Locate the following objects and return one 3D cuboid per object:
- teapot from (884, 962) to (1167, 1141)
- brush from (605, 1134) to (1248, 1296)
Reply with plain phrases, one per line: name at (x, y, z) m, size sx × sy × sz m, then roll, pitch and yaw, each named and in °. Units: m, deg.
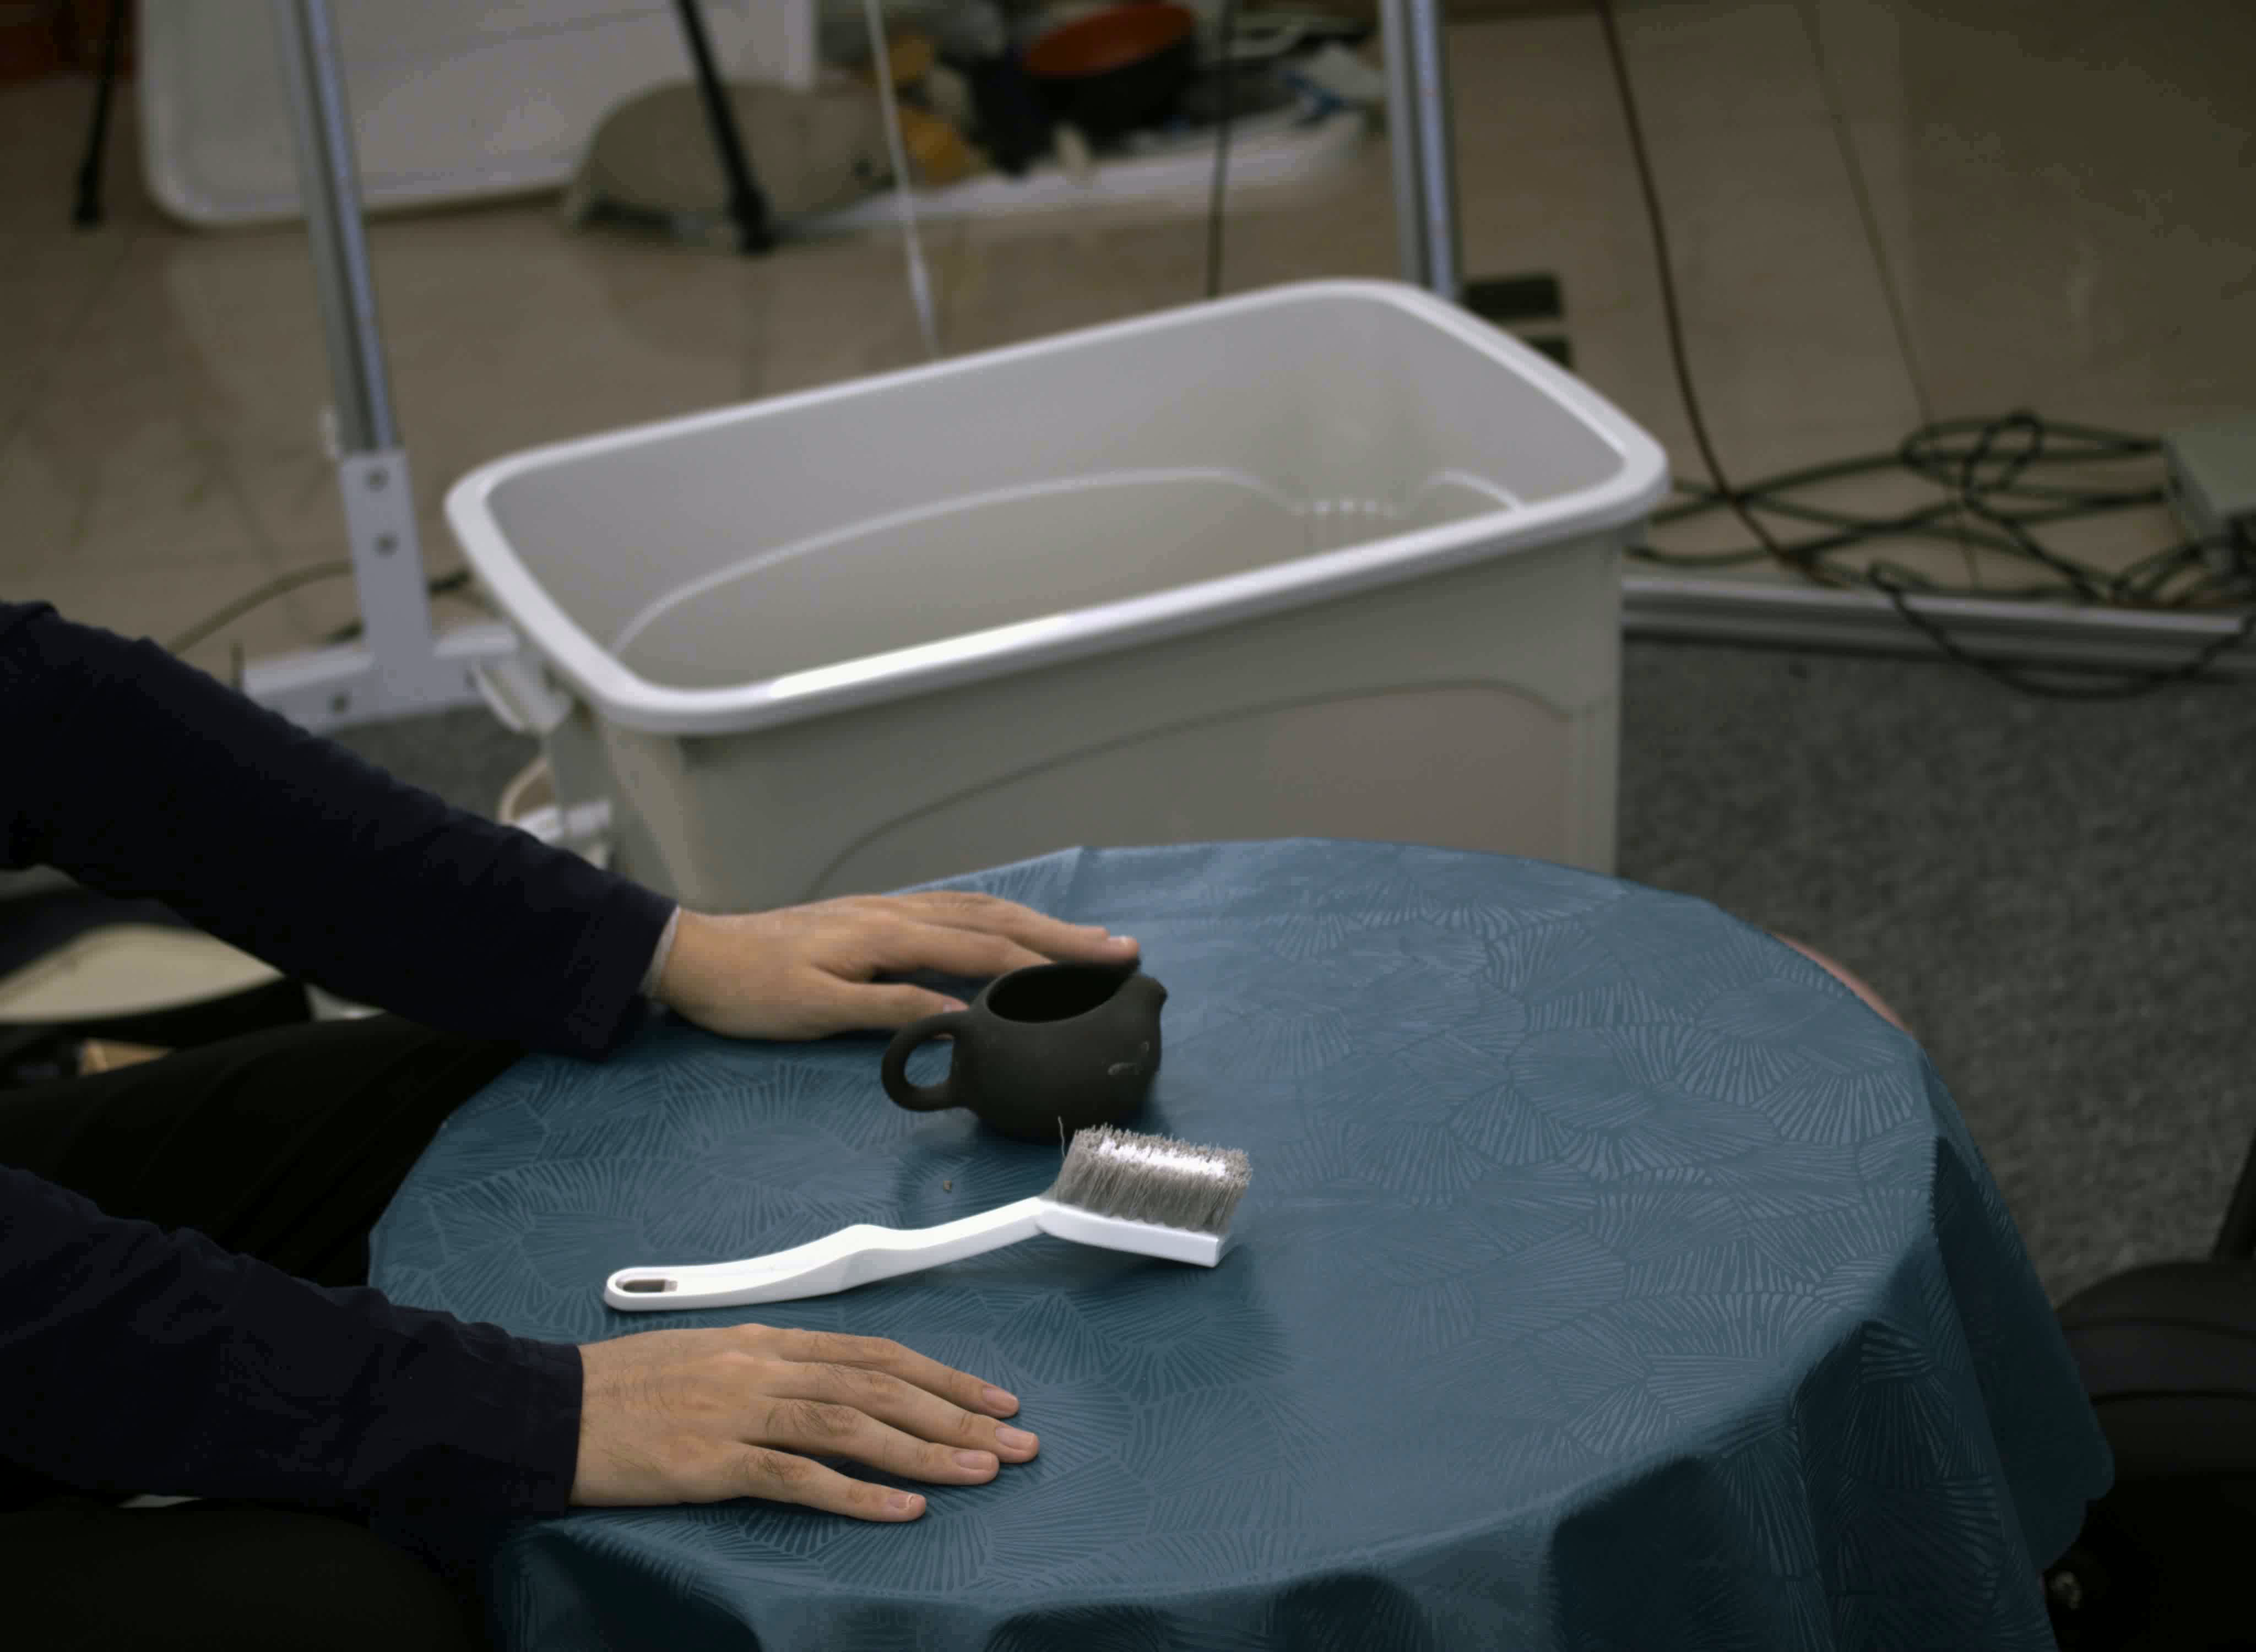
teapot at (-0.039, 0.089, 2.205) m, size 0.114 × 0.054 × 0.082 m, roll -8°, pitch 26°, yaw -5°
brush at (-0.076, 0.144, 2.098) m, size 0.243 × 0.051 × 0.034 m, roll -3°, pitch 30°, yaw 6°
